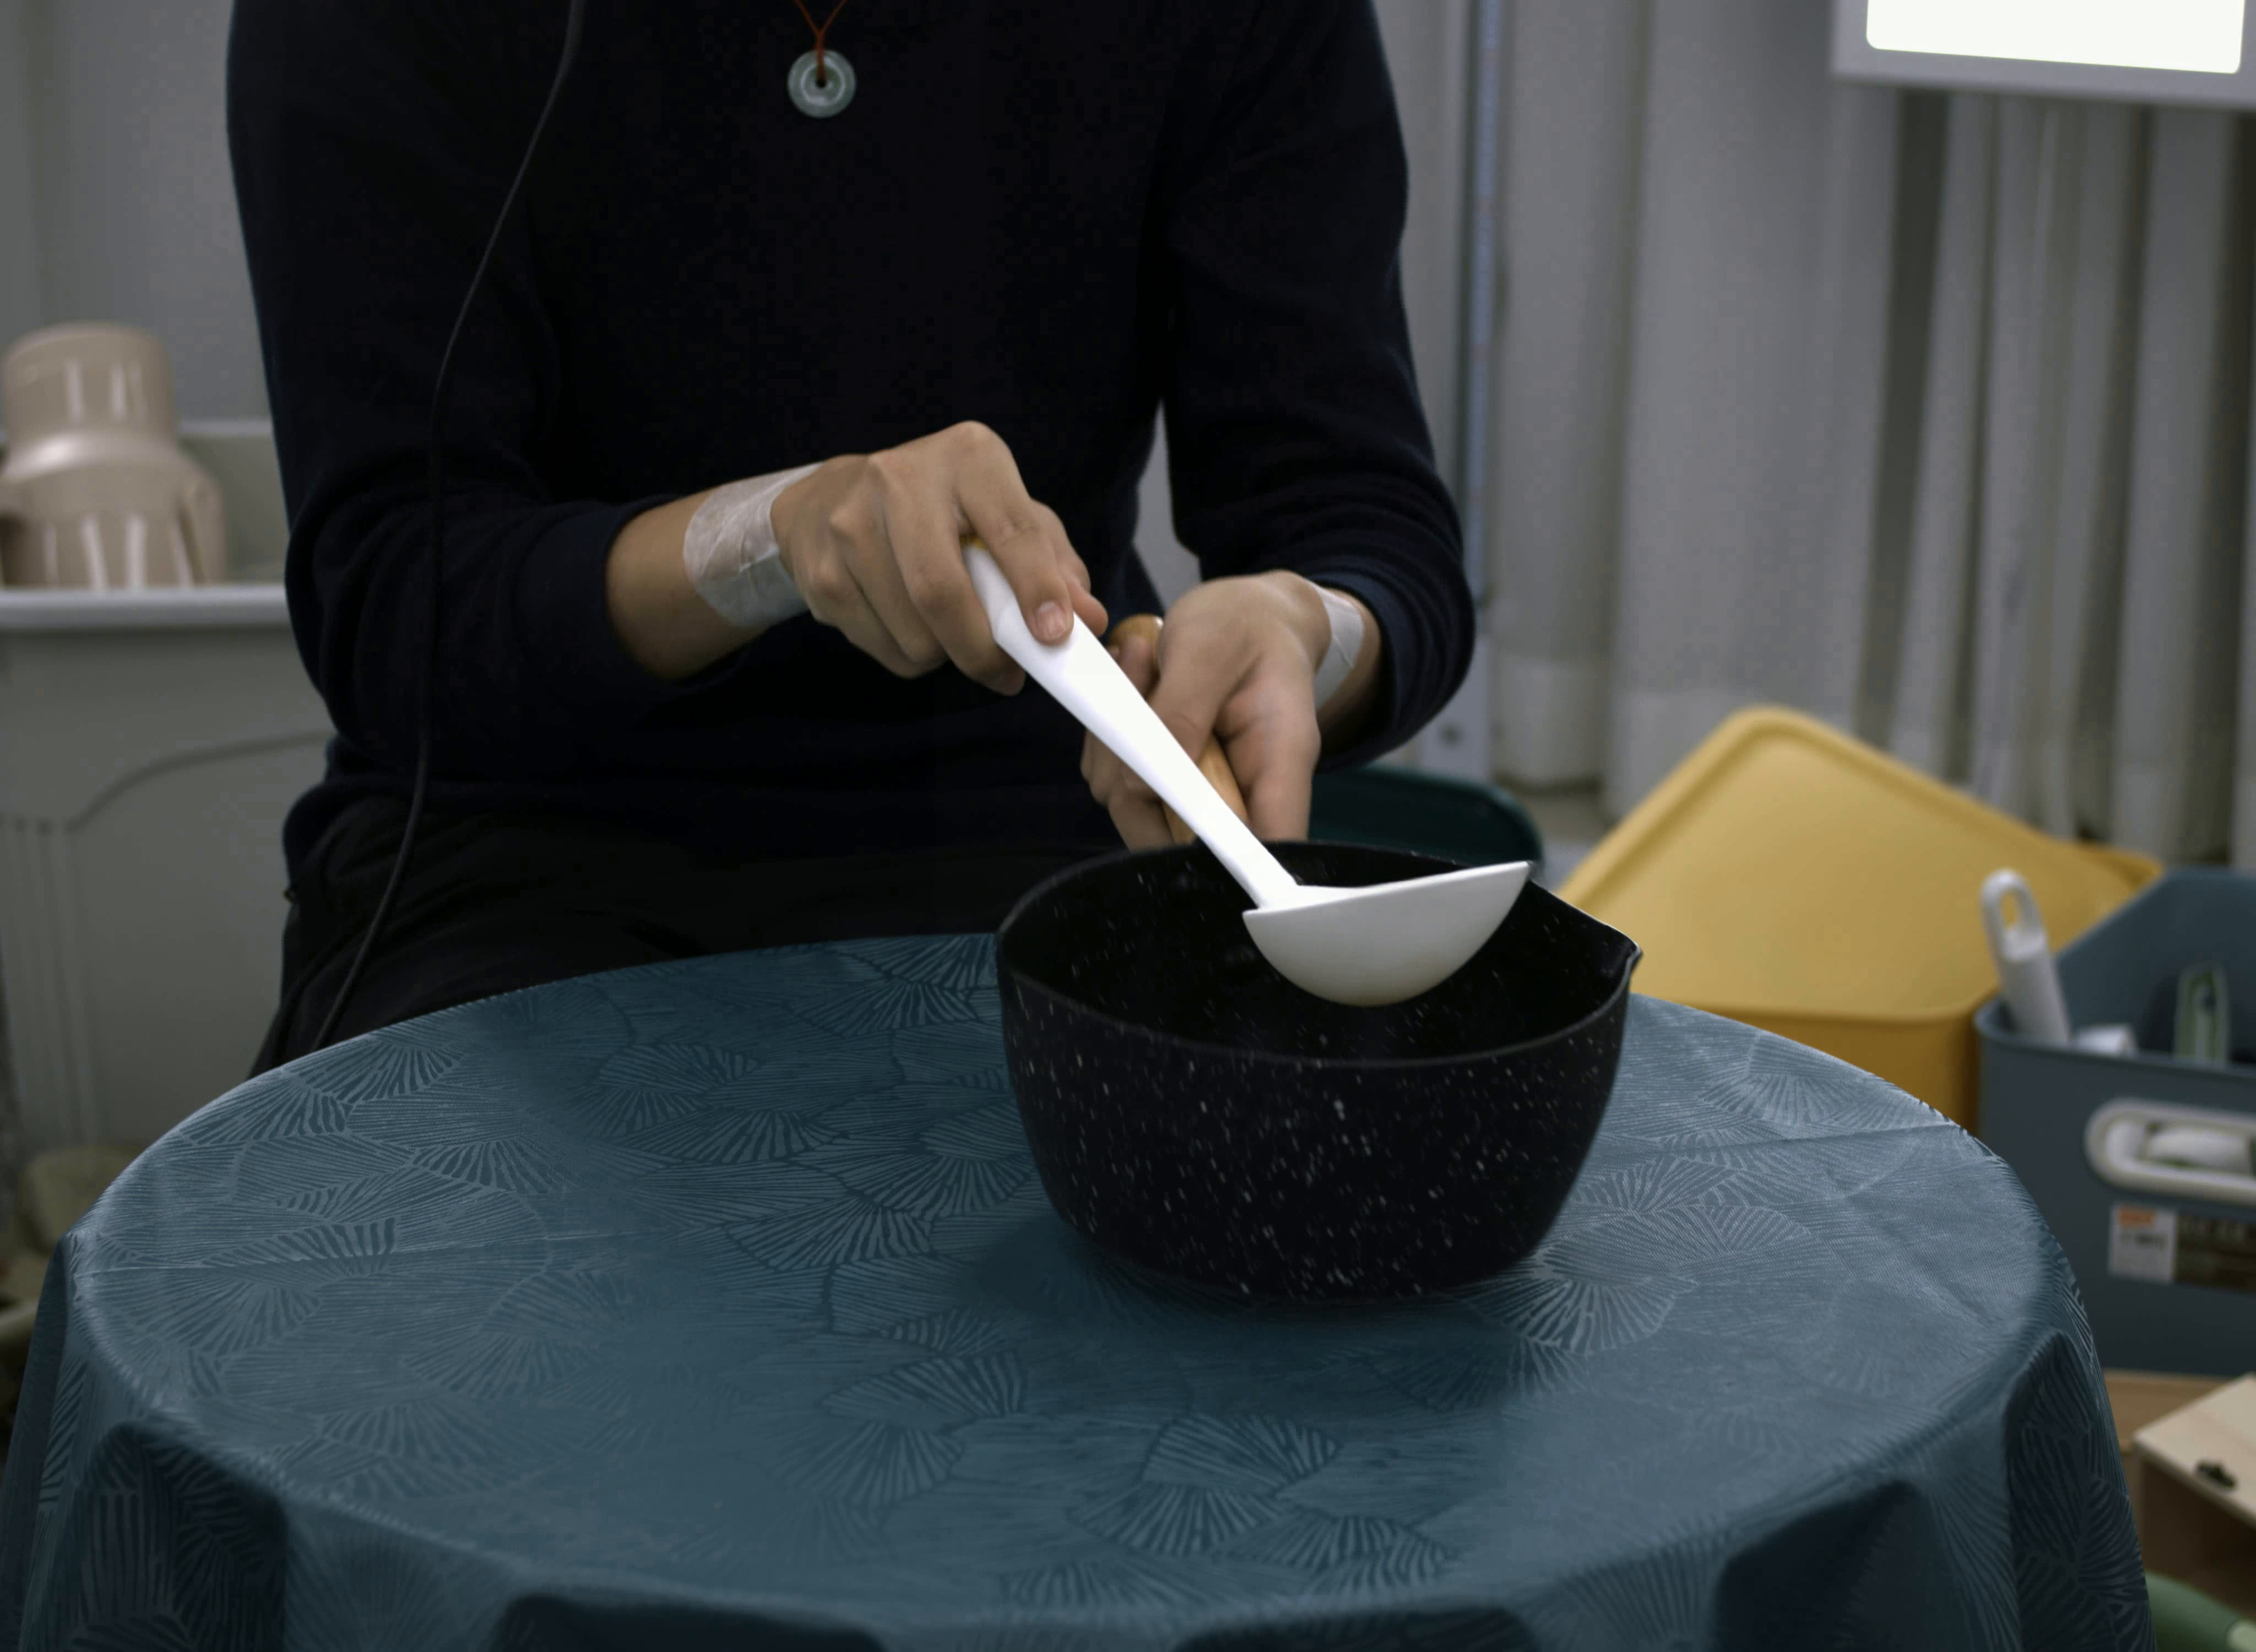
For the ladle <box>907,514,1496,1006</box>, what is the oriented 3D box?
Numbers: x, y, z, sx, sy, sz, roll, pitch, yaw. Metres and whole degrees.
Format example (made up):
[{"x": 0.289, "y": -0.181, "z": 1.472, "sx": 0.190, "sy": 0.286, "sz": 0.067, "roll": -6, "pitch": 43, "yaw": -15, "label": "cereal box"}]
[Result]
[{"x": 0.011, "y": -0.032, "z": 1.633, "sx": 0.090, "sy": 0.071, "sz": 0.289, "roll": -17, "pitch": 40, "yaw": -24, "label": "ladle"}]

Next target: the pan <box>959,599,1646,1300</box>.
[{"x": 0.034, "y": 0.033, "z": 1.634, "sx": 0.208, "sy": 0.109, "sz": 0.339, "roll": -1, "pitch": 22, "yaw": -14, "label": "pan"}]
